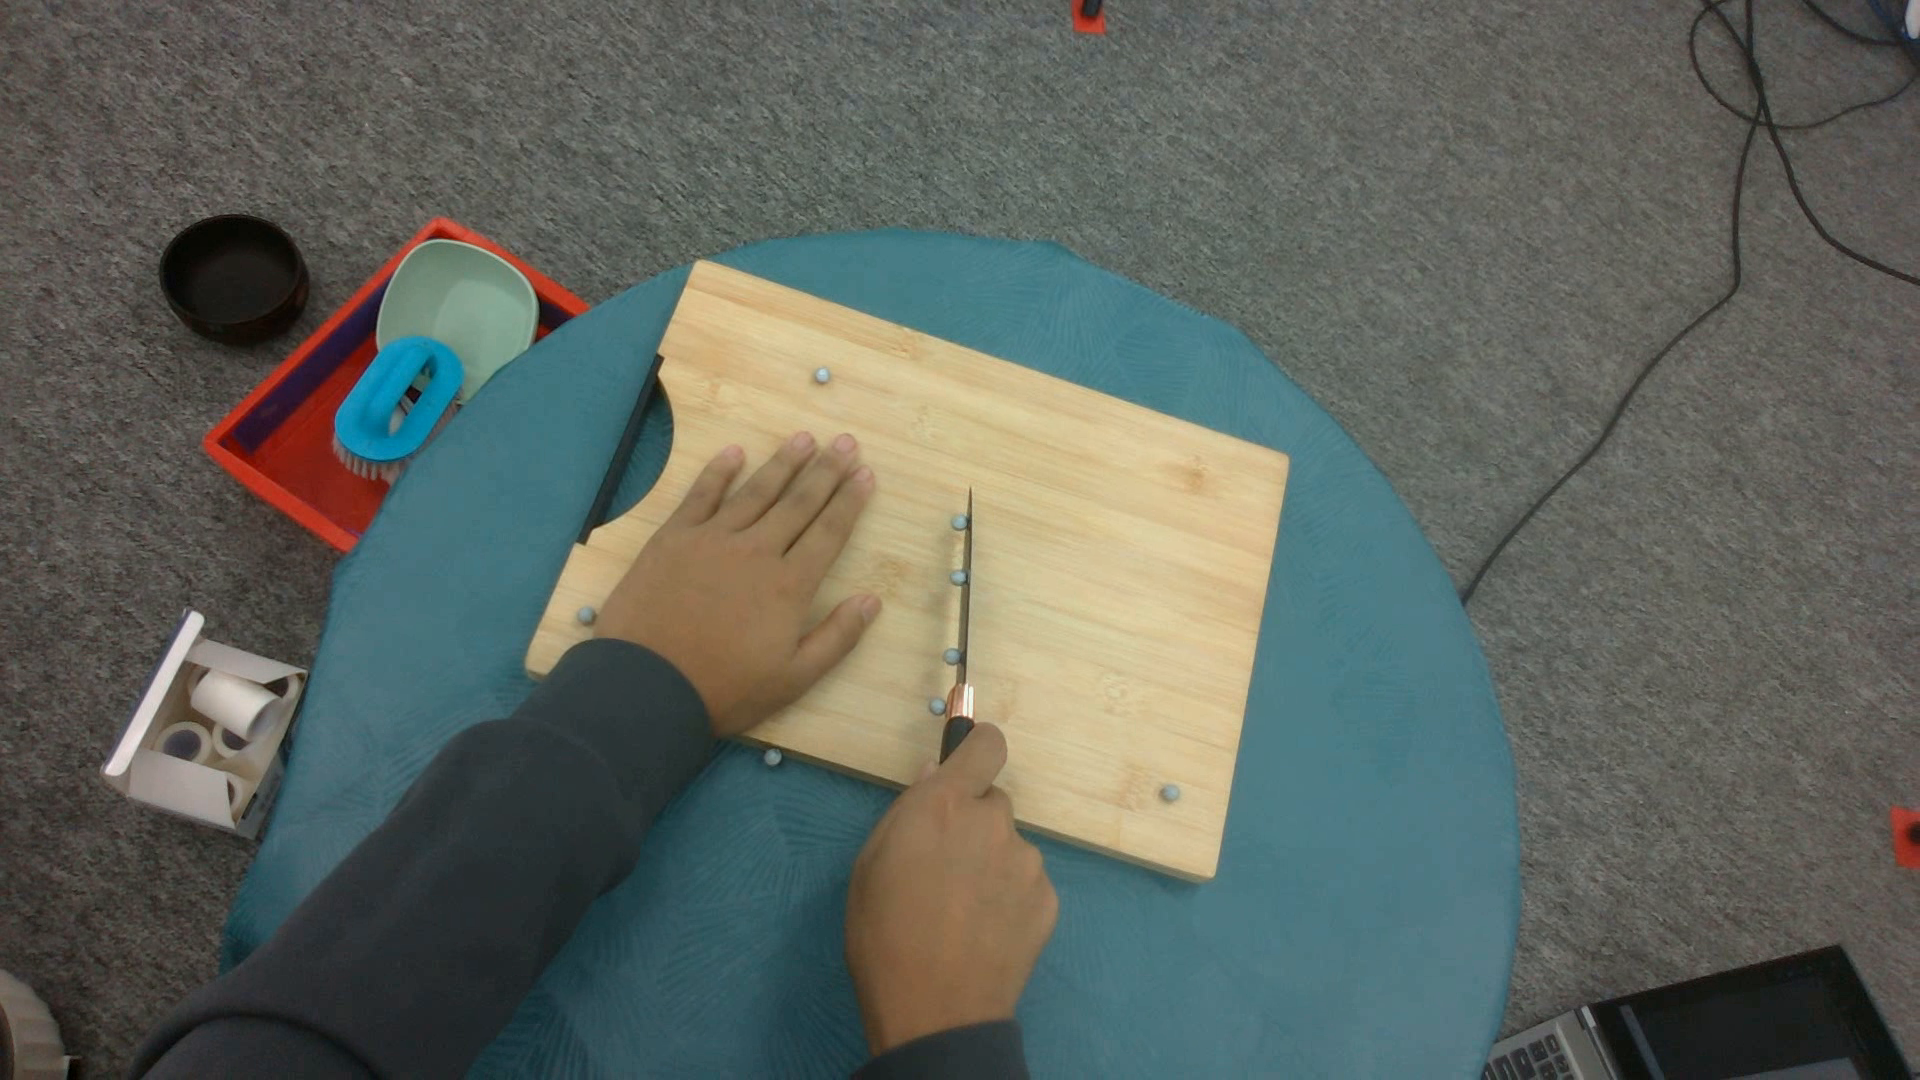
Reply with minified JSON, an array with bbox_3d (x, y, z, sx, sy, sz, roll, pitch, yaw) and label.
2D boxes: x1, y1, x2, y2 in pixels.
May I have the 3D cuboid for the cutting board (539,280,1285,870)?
[{"bbox_3d":[-0.010,0.012,0.716,0.349,0.023,0.251,14,65,-4],"label":"cutting board"}]

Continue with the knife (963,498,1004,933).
[{"bbox_3d":[0.009,0.075,0.661,0.017,0.026,0.226,3,62,-8],"label":"knife"}]
